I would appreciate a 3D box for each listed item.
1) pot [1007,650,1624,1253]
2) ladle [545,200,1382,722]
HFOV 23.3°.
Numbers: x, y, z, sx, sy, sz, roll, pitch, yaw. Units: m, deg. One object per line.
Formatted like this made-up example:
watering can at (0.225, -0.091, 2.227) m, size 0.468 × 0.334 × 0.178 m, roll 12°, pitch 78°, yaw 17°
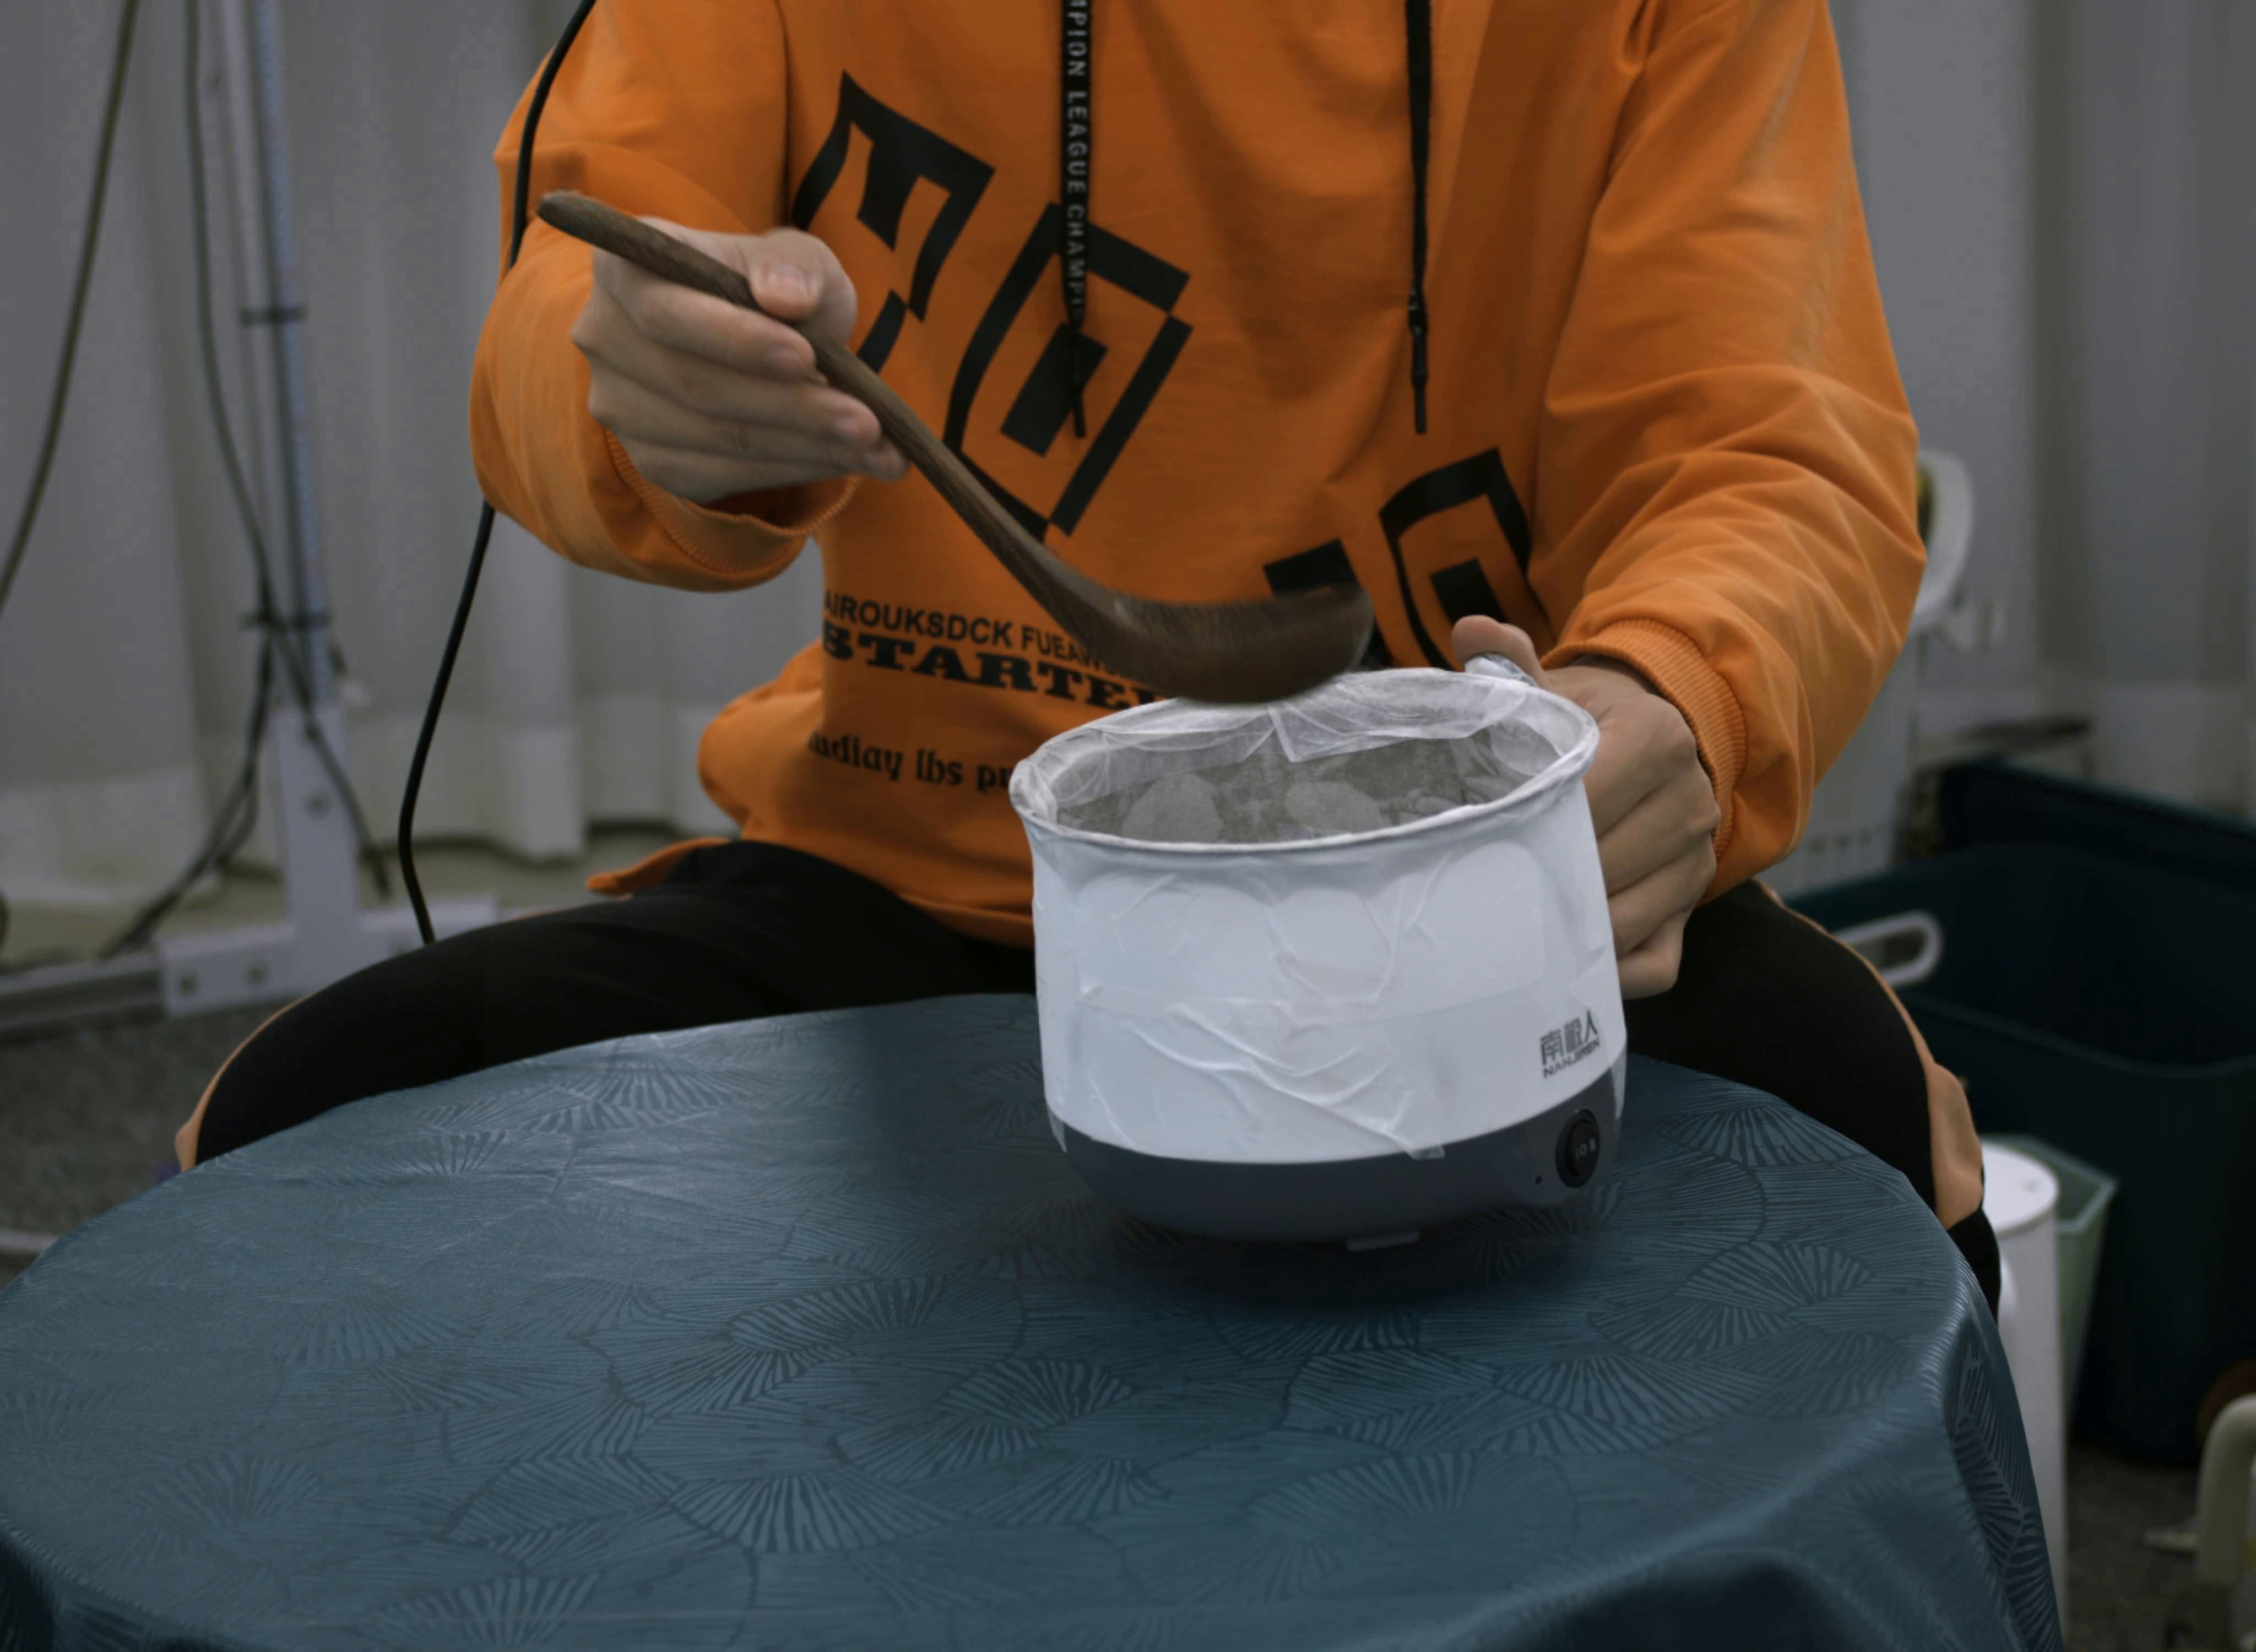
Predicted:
pot at (0.074, 0.031, 1.666) m, size 0.179 × 0.136 × 0.234 m, roll 6°, pitch 21°, yaw 36°
ladle at (-0.046, -0.121, 1.621) m, size 0.274 × 0.071 × 0.076 m, roll 40°, pitch 10°, yaw -1°
